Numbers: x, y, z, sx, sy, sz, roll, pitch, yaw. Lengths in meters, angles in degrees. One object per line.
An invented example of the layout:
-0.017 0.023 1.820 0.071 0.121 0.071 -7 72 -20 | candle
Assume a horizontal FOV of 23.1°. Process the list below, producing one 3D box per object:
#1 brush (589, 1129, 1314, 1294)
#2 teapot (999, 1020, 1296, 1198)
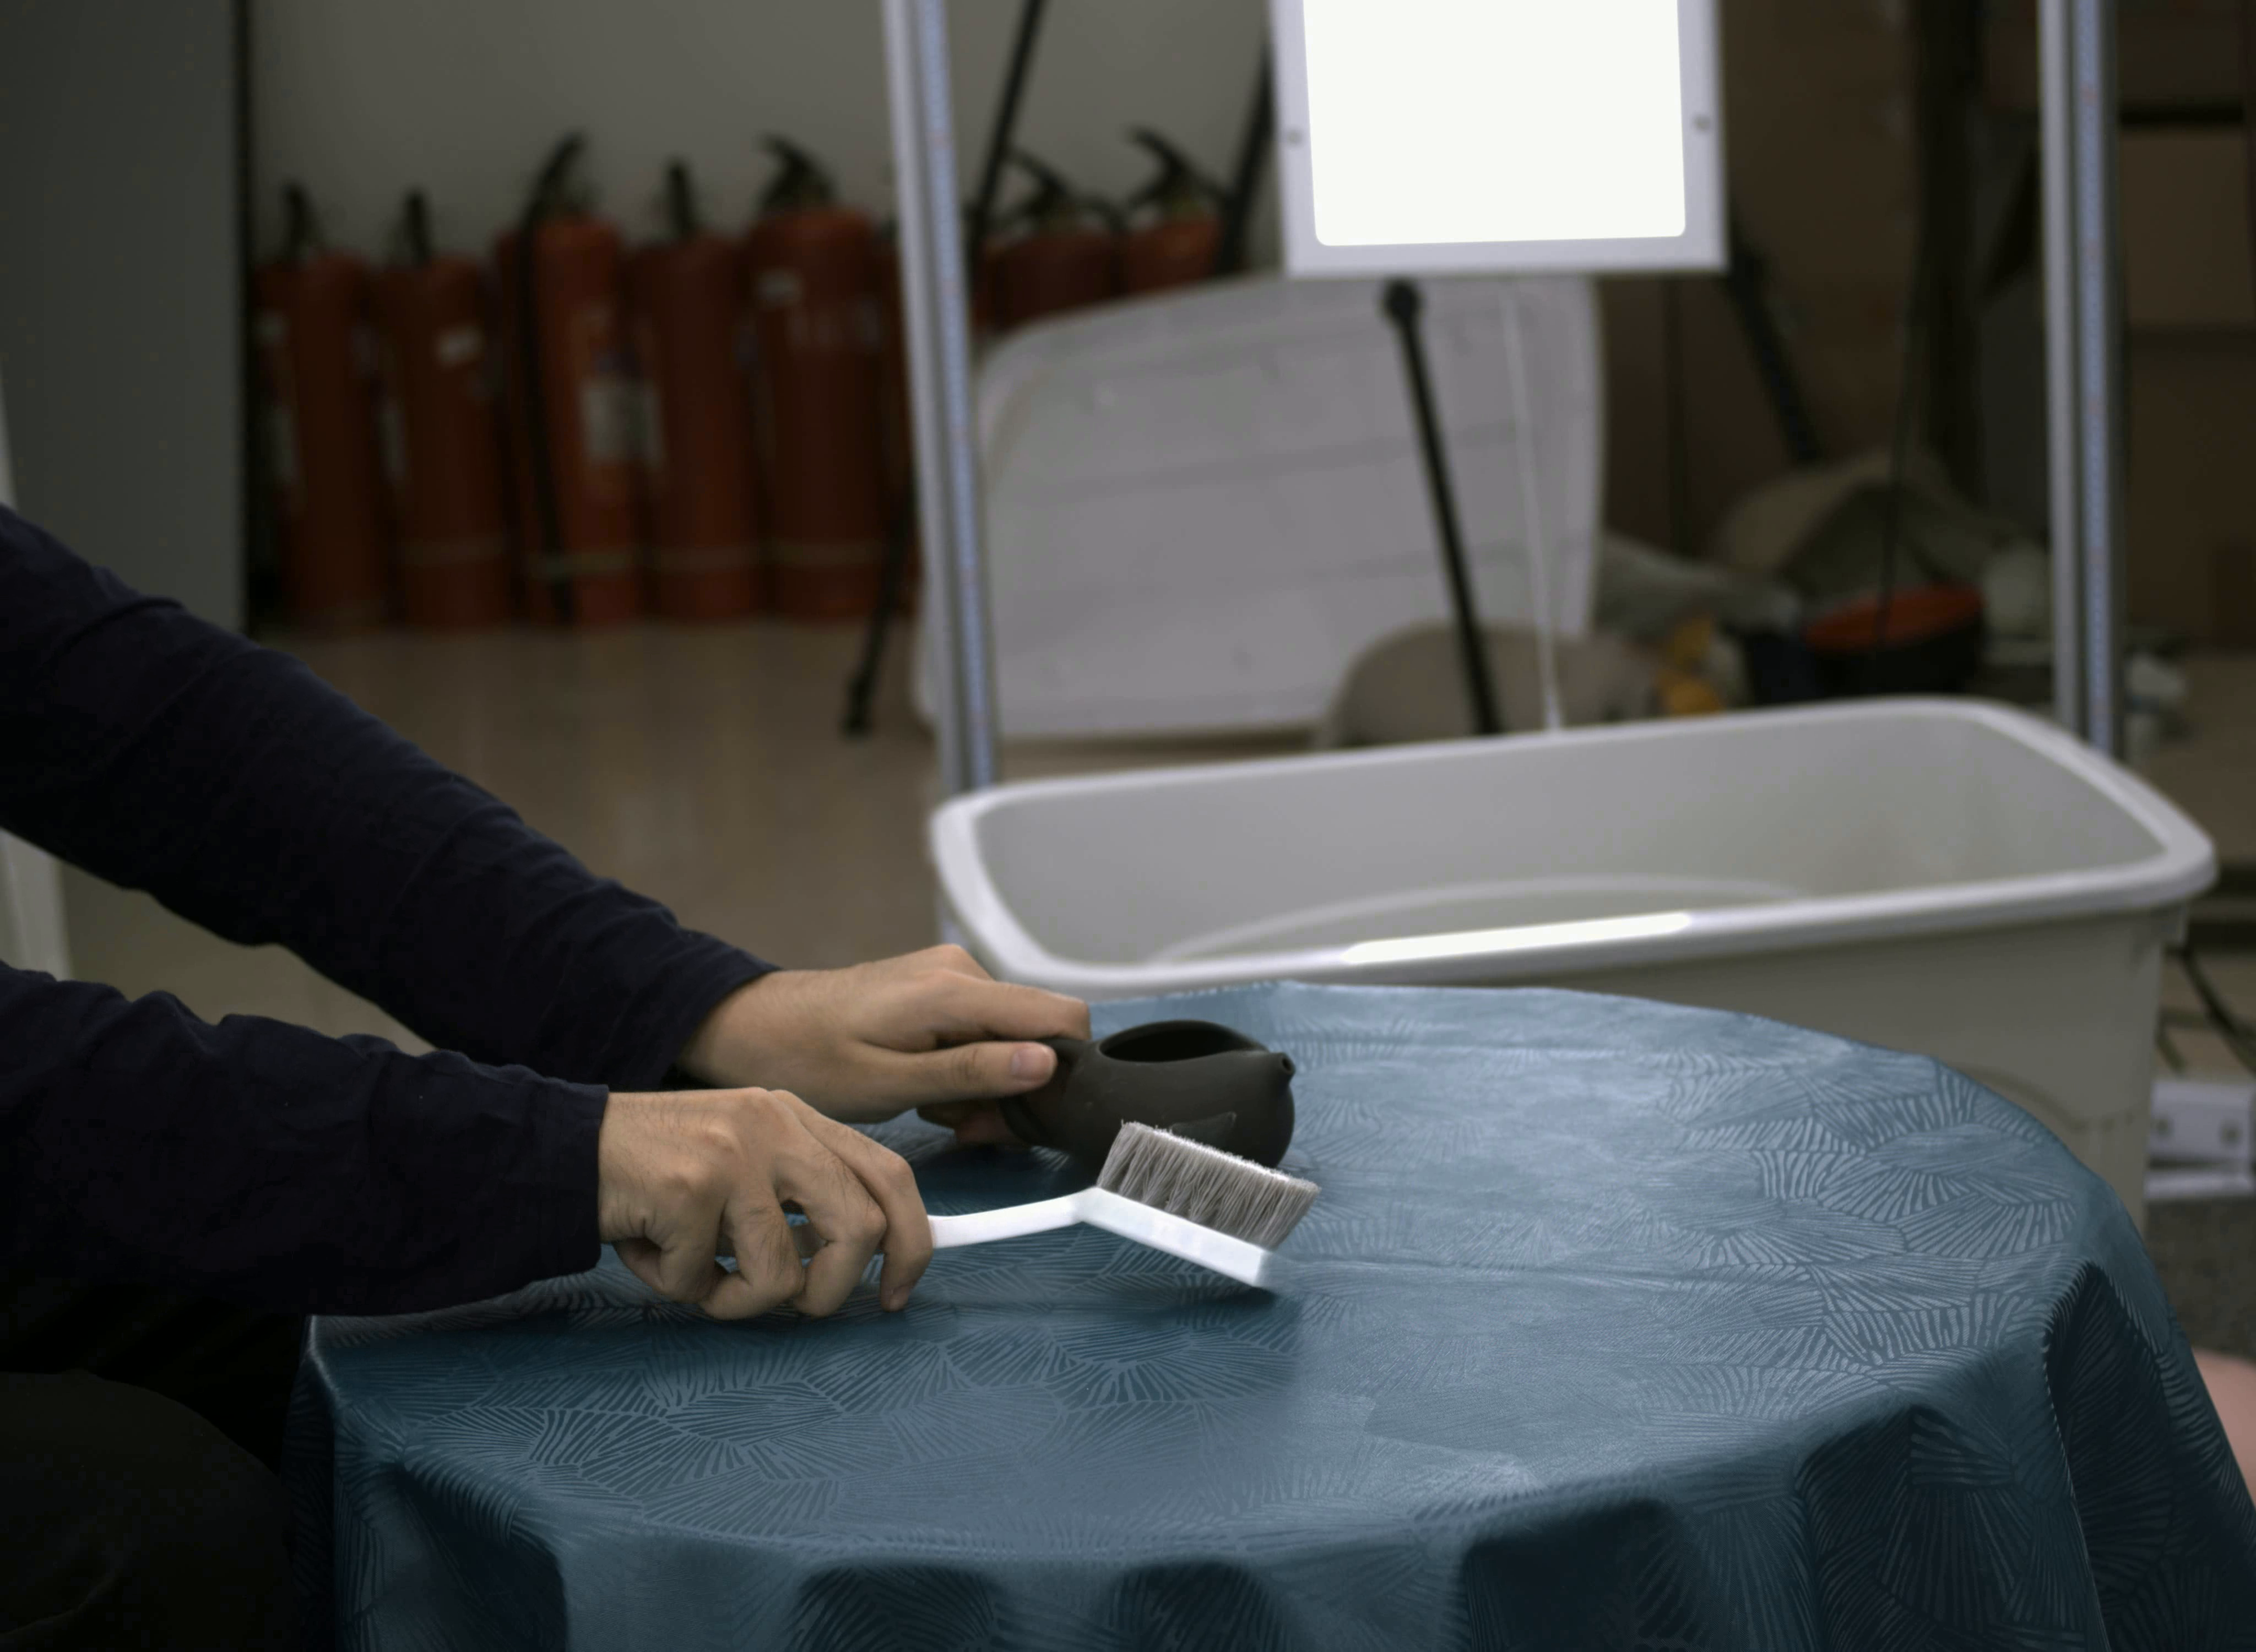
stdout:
-0.060 0.121 1.801 0.246 0.050 0.034 2 4 16 | brush
0.007 0.098 1.908 0.116 0.053 0.081 3 17 29 | teapot
